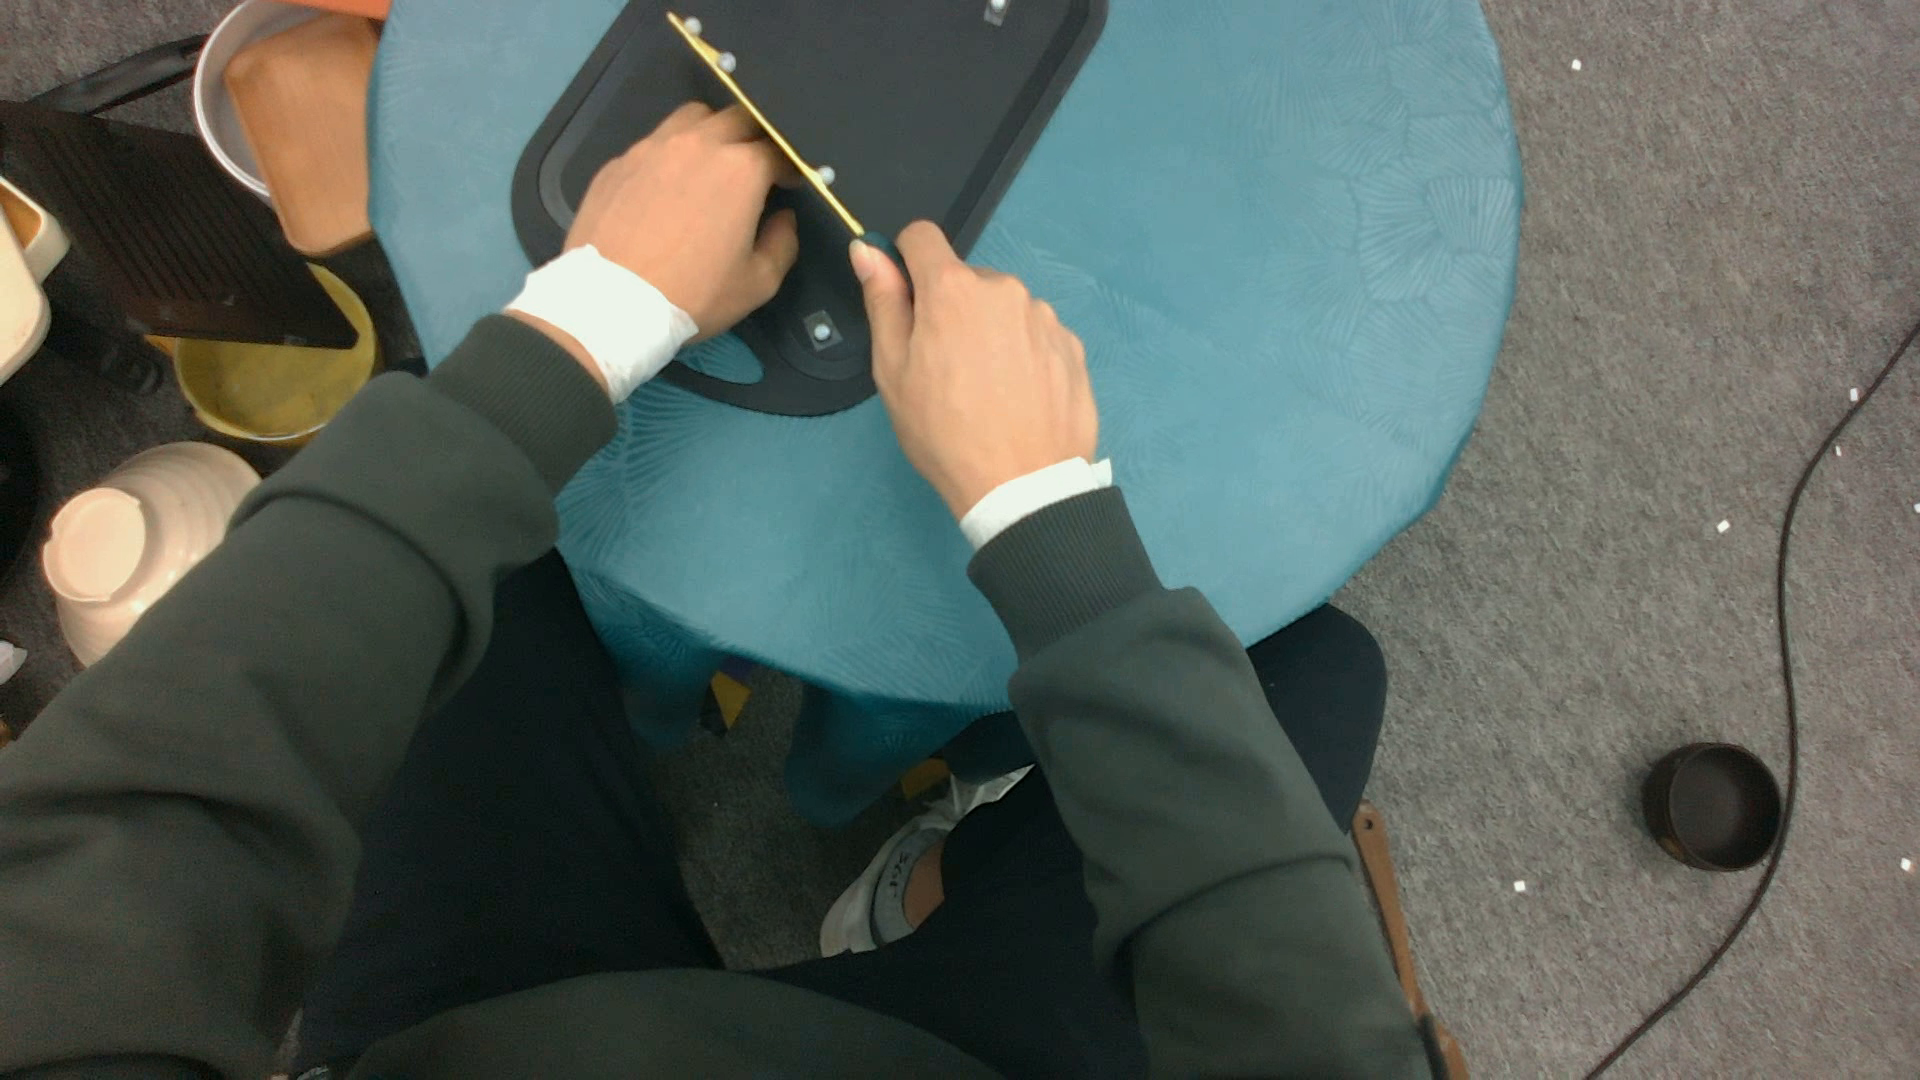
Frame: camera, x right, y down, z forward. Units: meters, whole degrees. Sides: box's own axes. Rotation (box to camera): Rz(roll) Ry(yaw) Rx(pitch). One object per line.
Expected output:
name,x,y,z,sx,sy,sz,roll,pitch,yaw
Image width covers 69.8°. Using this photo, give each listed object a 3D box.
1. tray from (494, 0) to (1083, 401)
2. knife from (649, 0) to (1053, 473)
tray,-0.082,-0.228,0.698,0.211,0.010,0.326,30,77,-4
knife,-0.054,-0.144,0.632,0.027,0.081,0.289,-40,83,8
